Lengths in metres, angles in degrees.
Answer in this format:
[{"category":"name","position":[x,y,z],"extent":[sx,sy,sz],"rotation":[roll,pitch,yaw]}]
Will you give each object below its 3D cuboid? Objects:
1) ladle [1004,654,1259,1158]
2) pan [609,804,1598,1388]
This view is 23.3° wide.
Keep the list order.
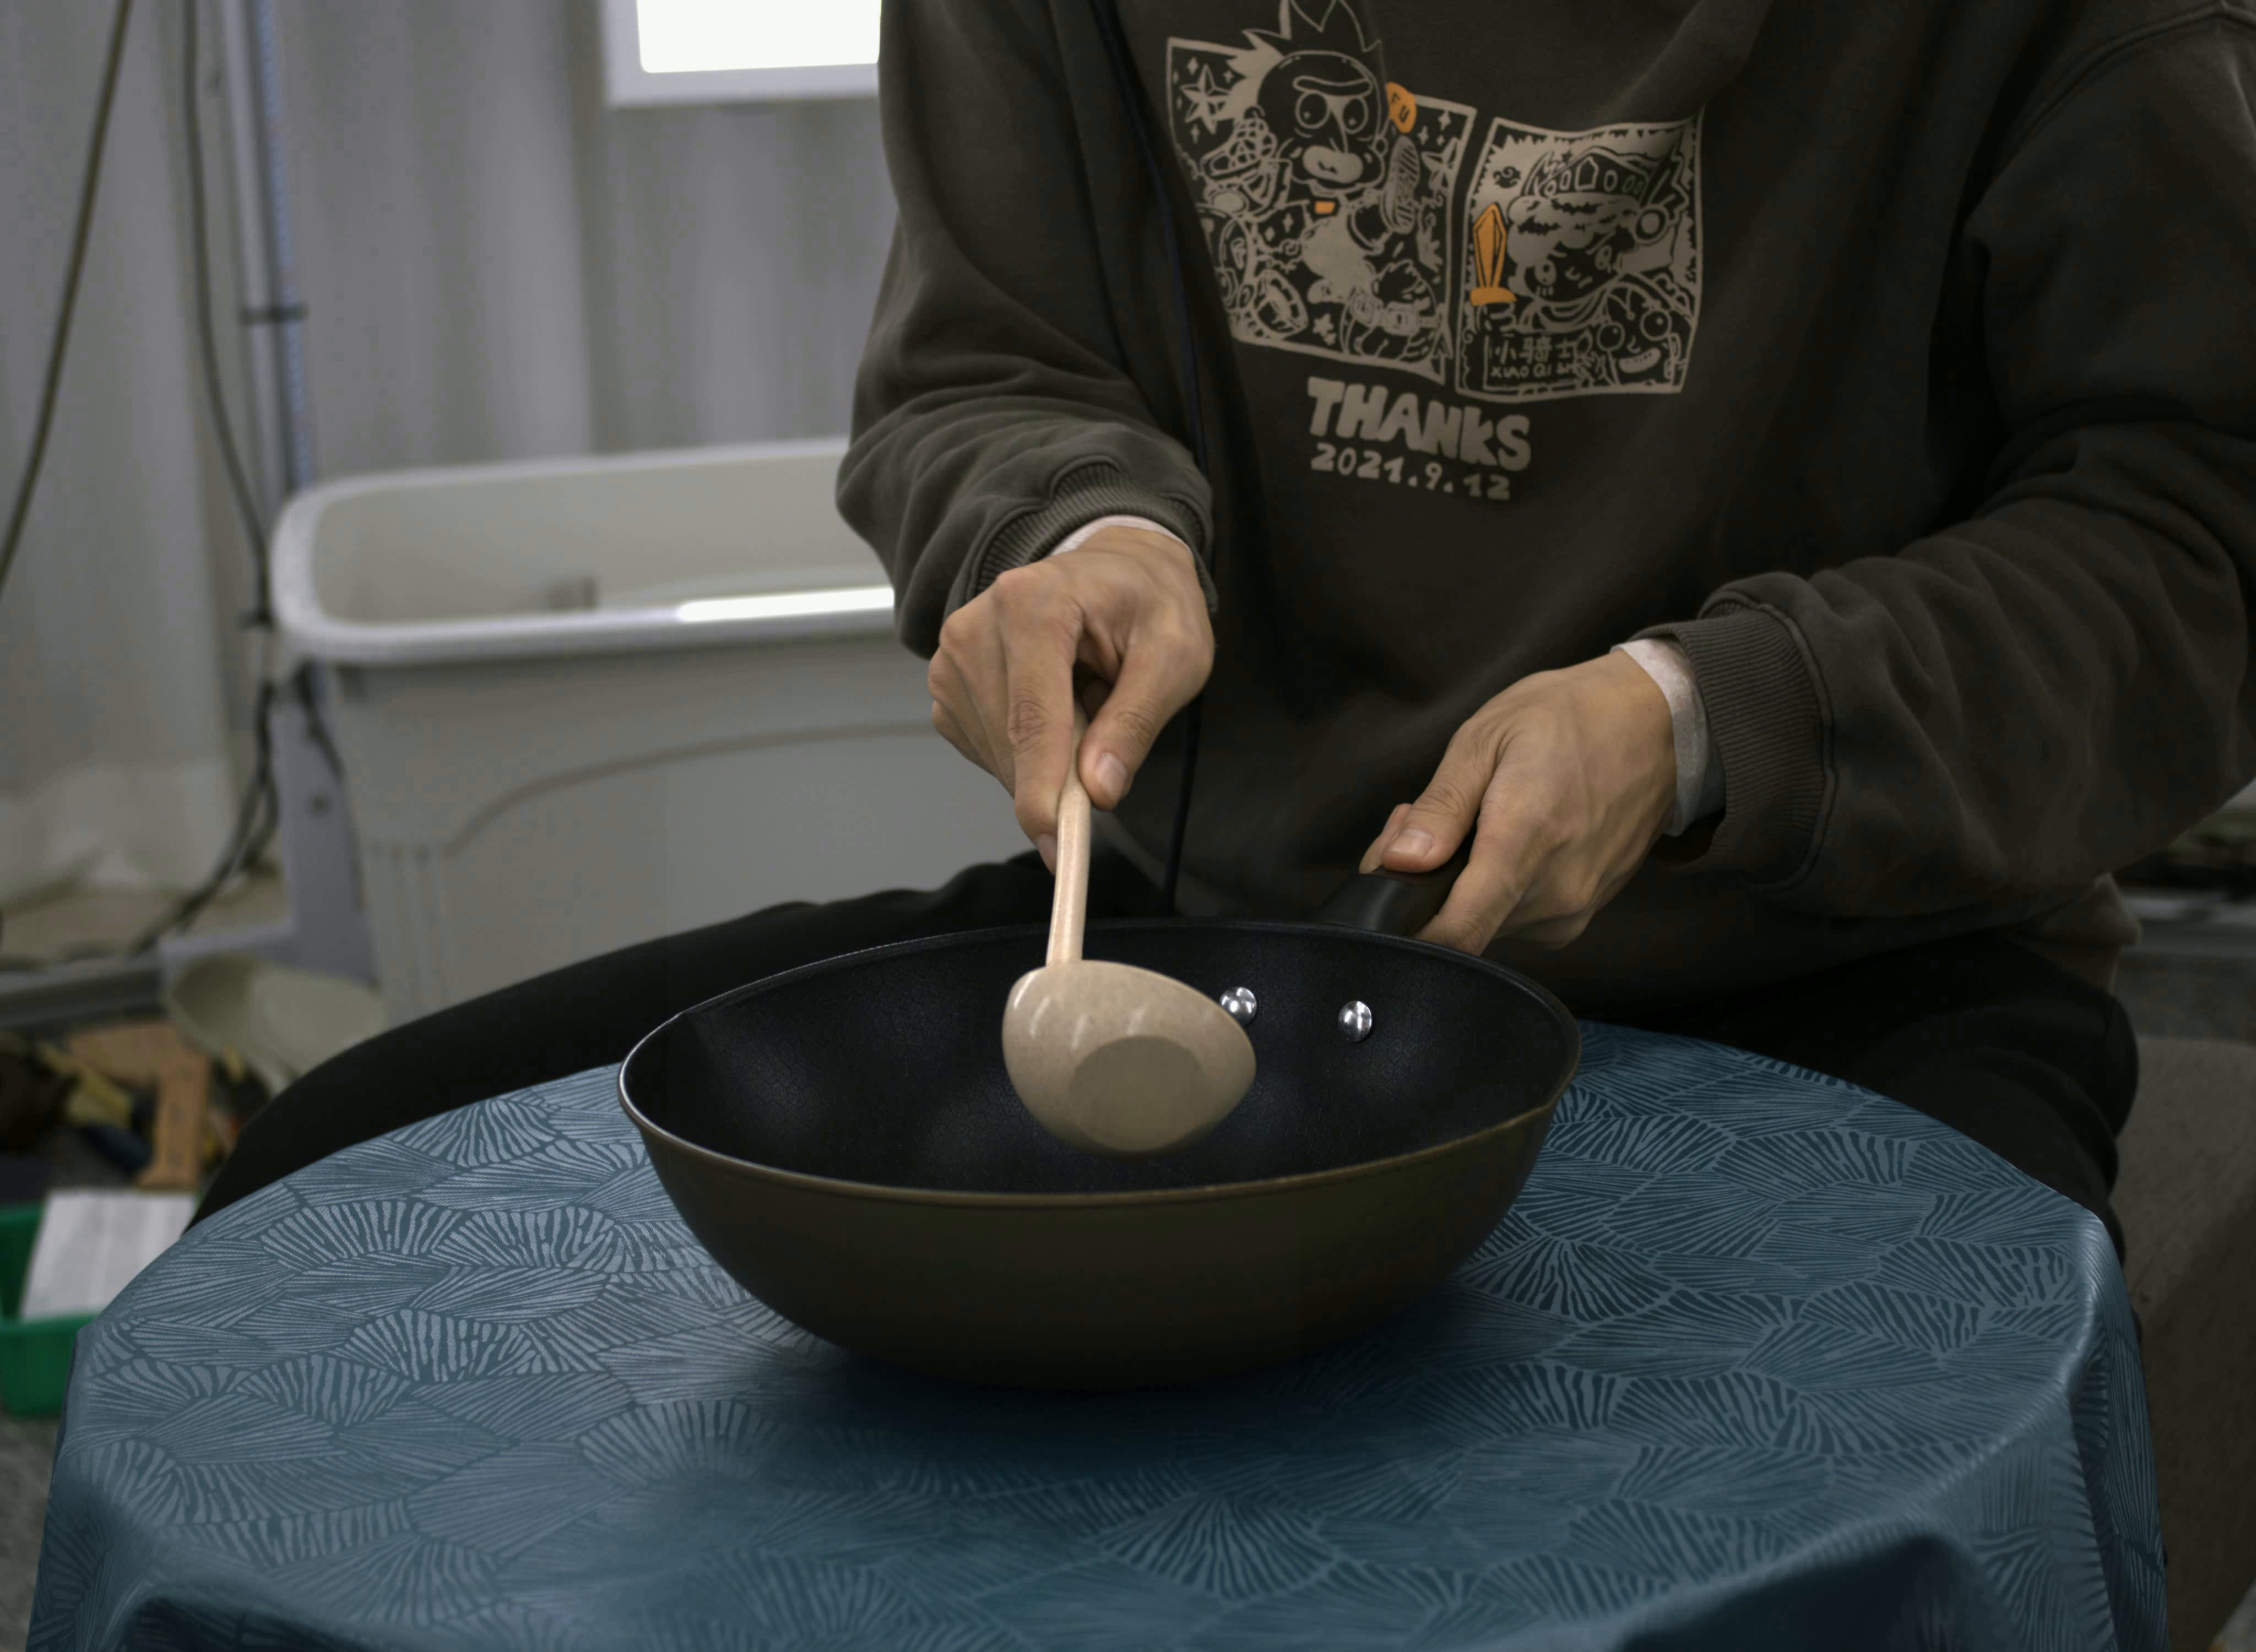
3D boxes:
[{"category":"ladle","position":[-0.003,0.001,1.634],"extent":[0.071,0.072,0.258],"rotation":[30,30,-23]},{"category":"pan","position":[0.034,0.080,1.686],"extent":[0.289,0.086,0.464],"rotation":[5,16,28]}]
